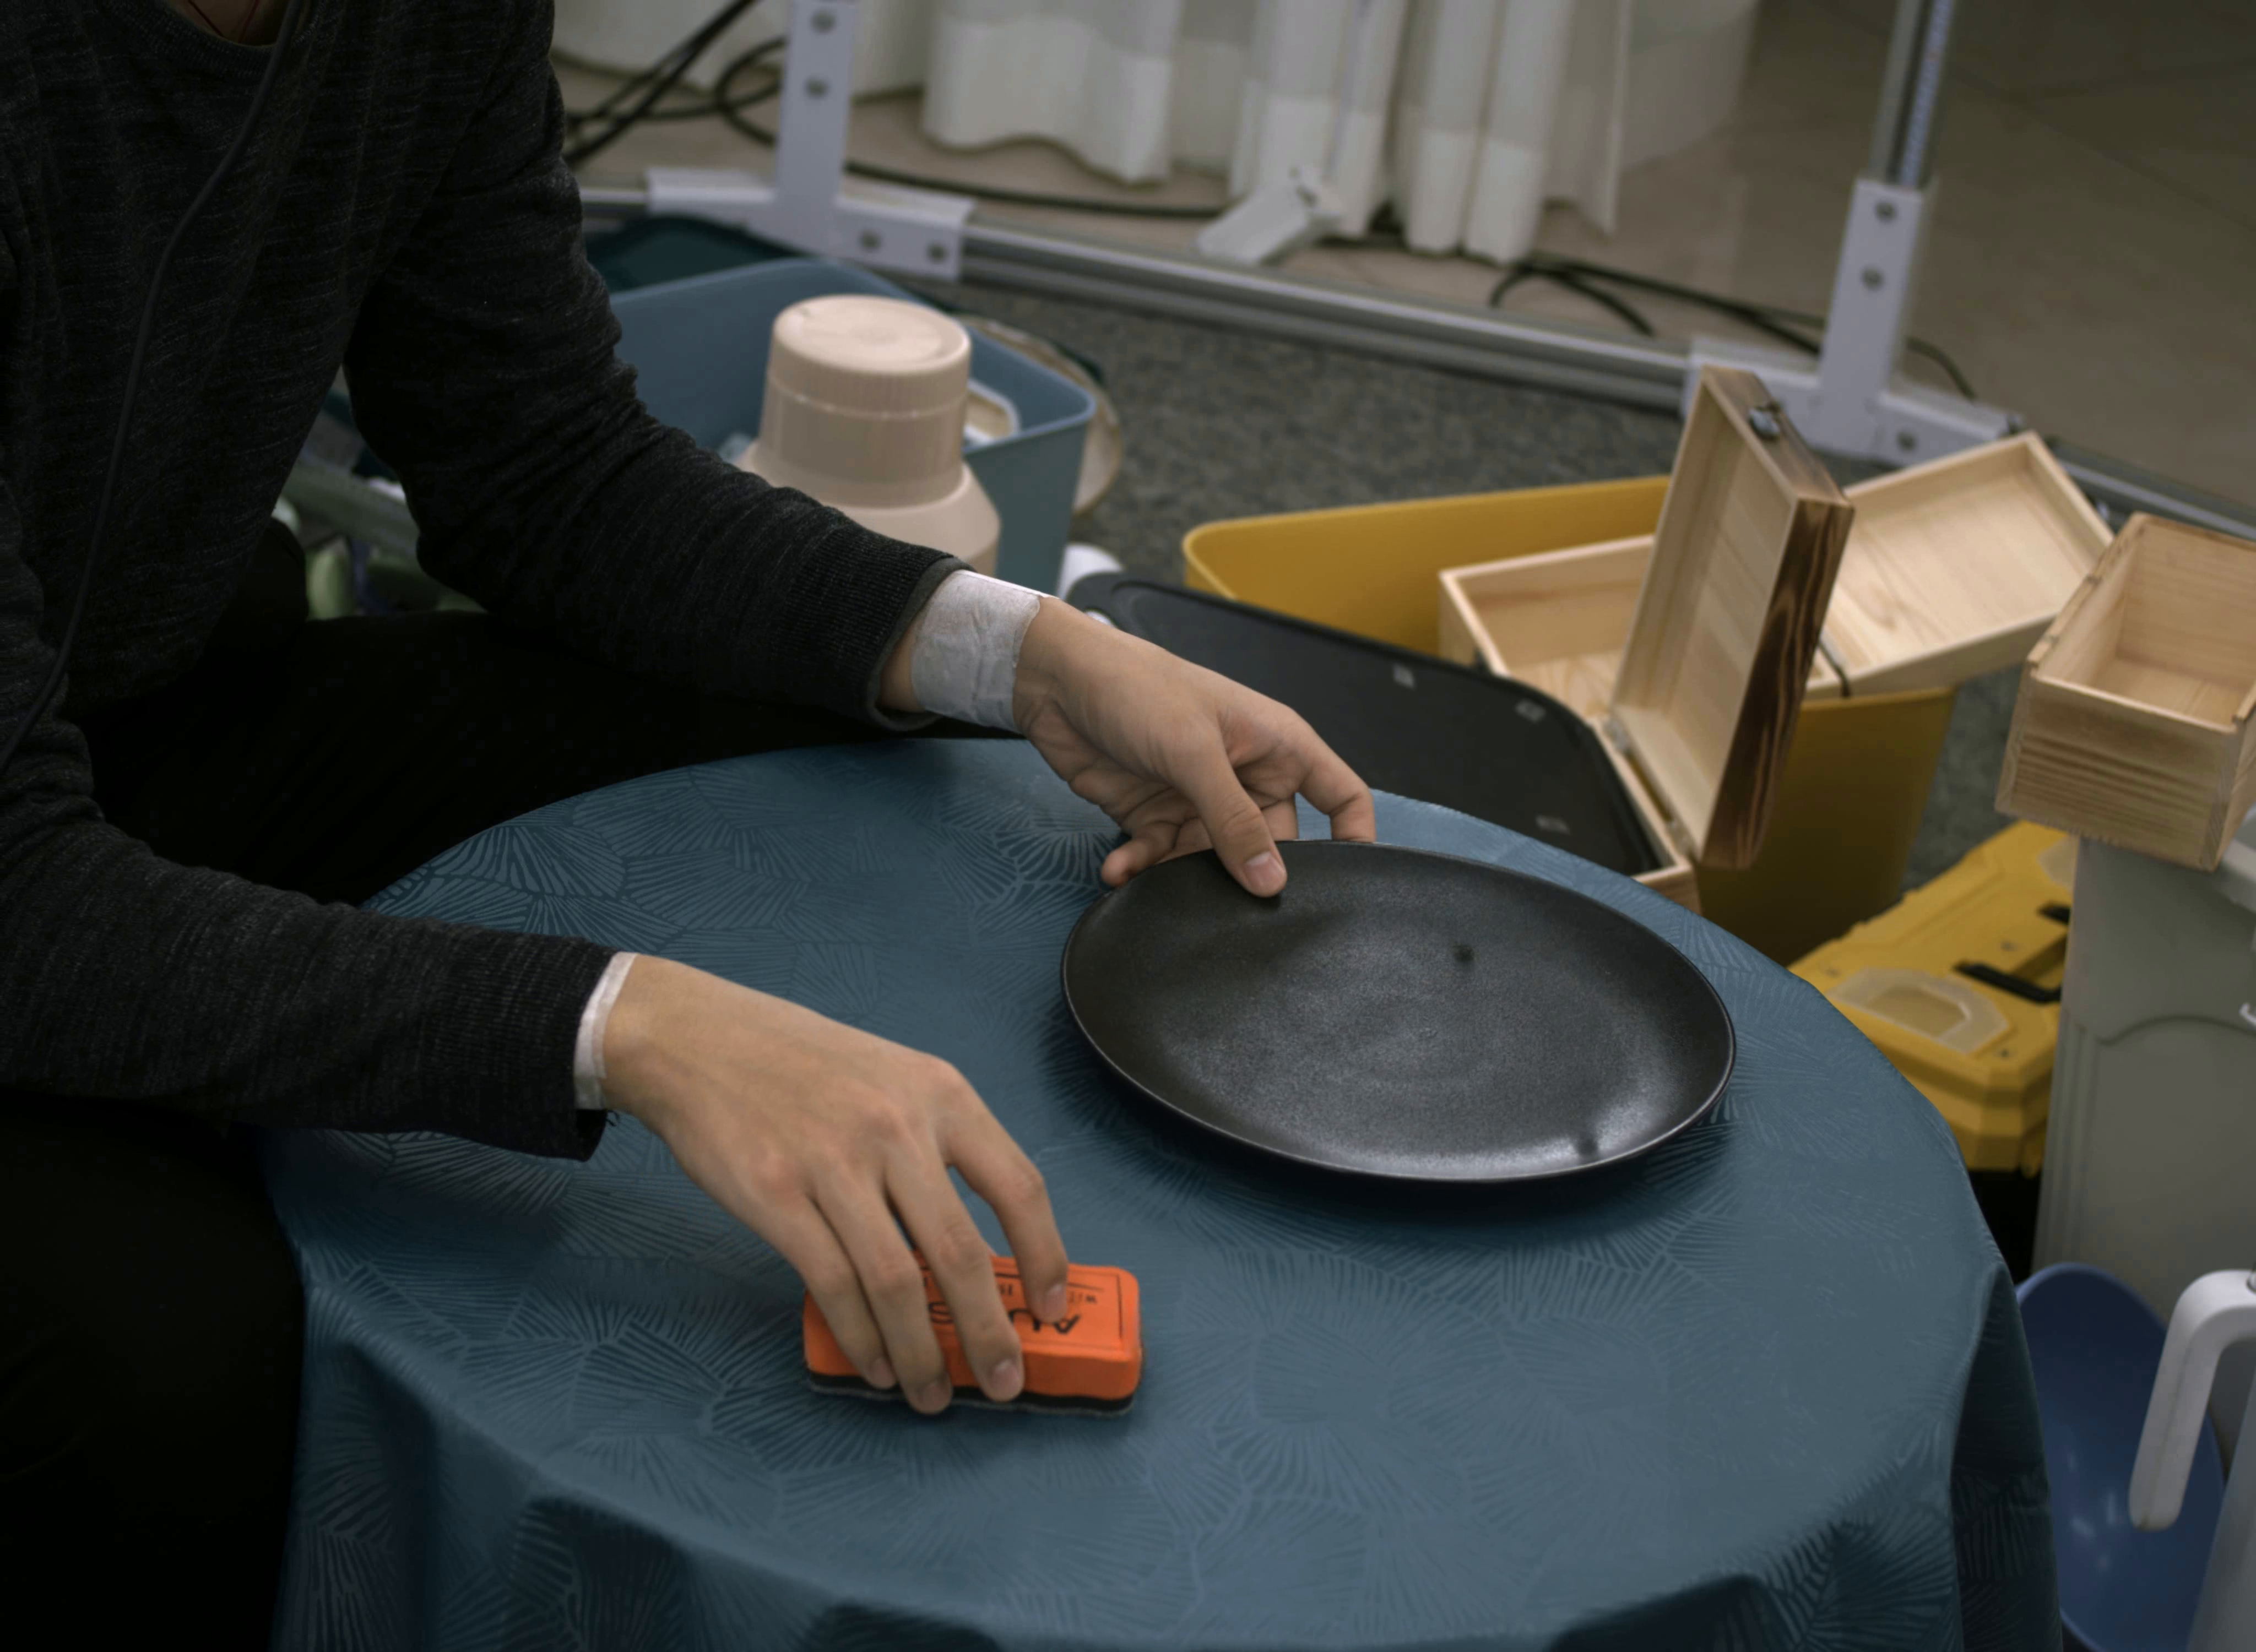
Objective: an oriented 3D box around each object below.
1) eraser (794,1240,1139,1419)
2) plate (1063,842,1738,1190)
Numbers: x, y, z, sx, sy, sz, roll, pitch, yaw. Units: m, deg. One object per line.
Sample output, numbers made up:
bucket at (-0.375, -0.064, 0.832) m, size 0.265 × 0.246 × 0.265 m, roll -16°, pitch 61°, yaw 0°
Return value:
eraser at (-0.051, 0.160, 1.692) m, size 0.108 × 0.023 × 0.059 m, roll 6°, pitch 25°, yaw -2°
plate at (0.096, 0.071, 1.900) m, size 0.243 × 0.023 × 0.246 m, roll 5°, pitch 27°, yaw -3°
